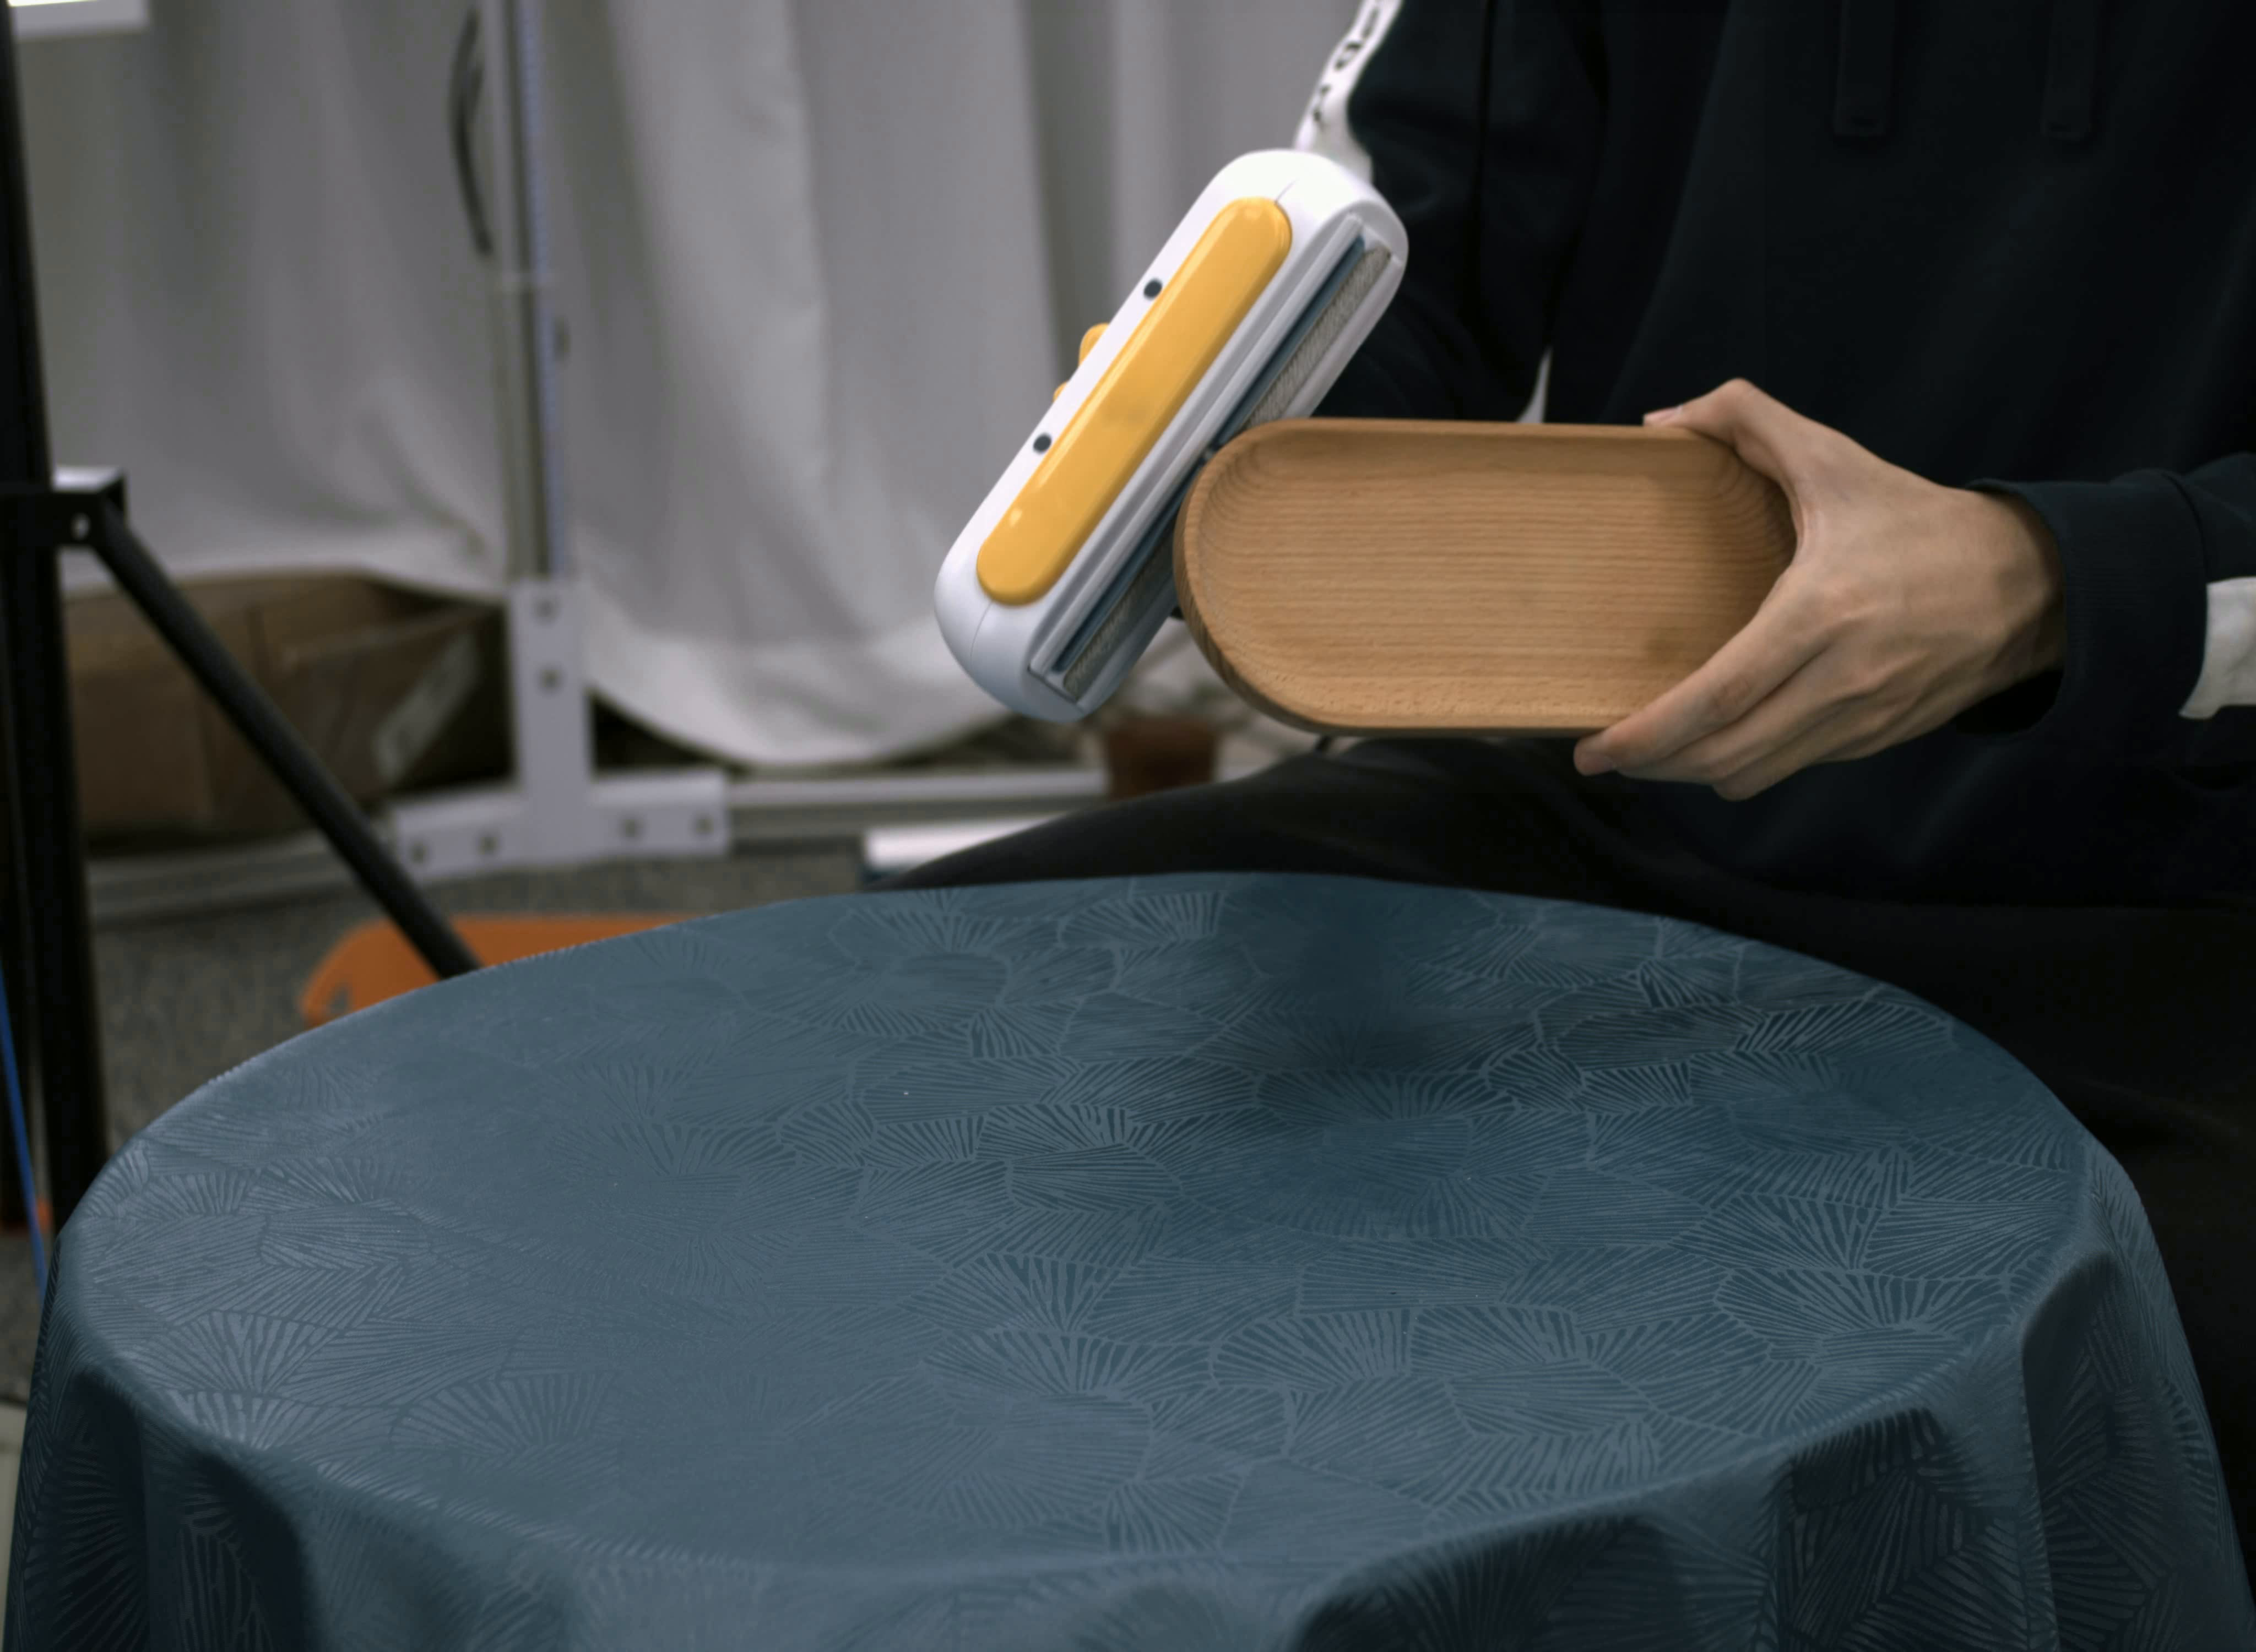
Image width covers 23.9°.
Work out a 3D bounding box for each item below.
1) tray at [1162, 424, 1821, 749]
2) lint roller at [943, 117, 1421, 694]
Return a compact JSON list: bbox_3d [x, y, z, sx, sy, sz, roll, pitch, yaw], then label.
[{"bbox_3d":[0.113,-0.072,1.621,0.226,0.103,0.020,-2,-20,-25],"label":"tray"},{"bbox_3d":[0.026,-0.114,1.675,0.075,0.193,0.189,31,-6,23],"label":"lint roller"}]
